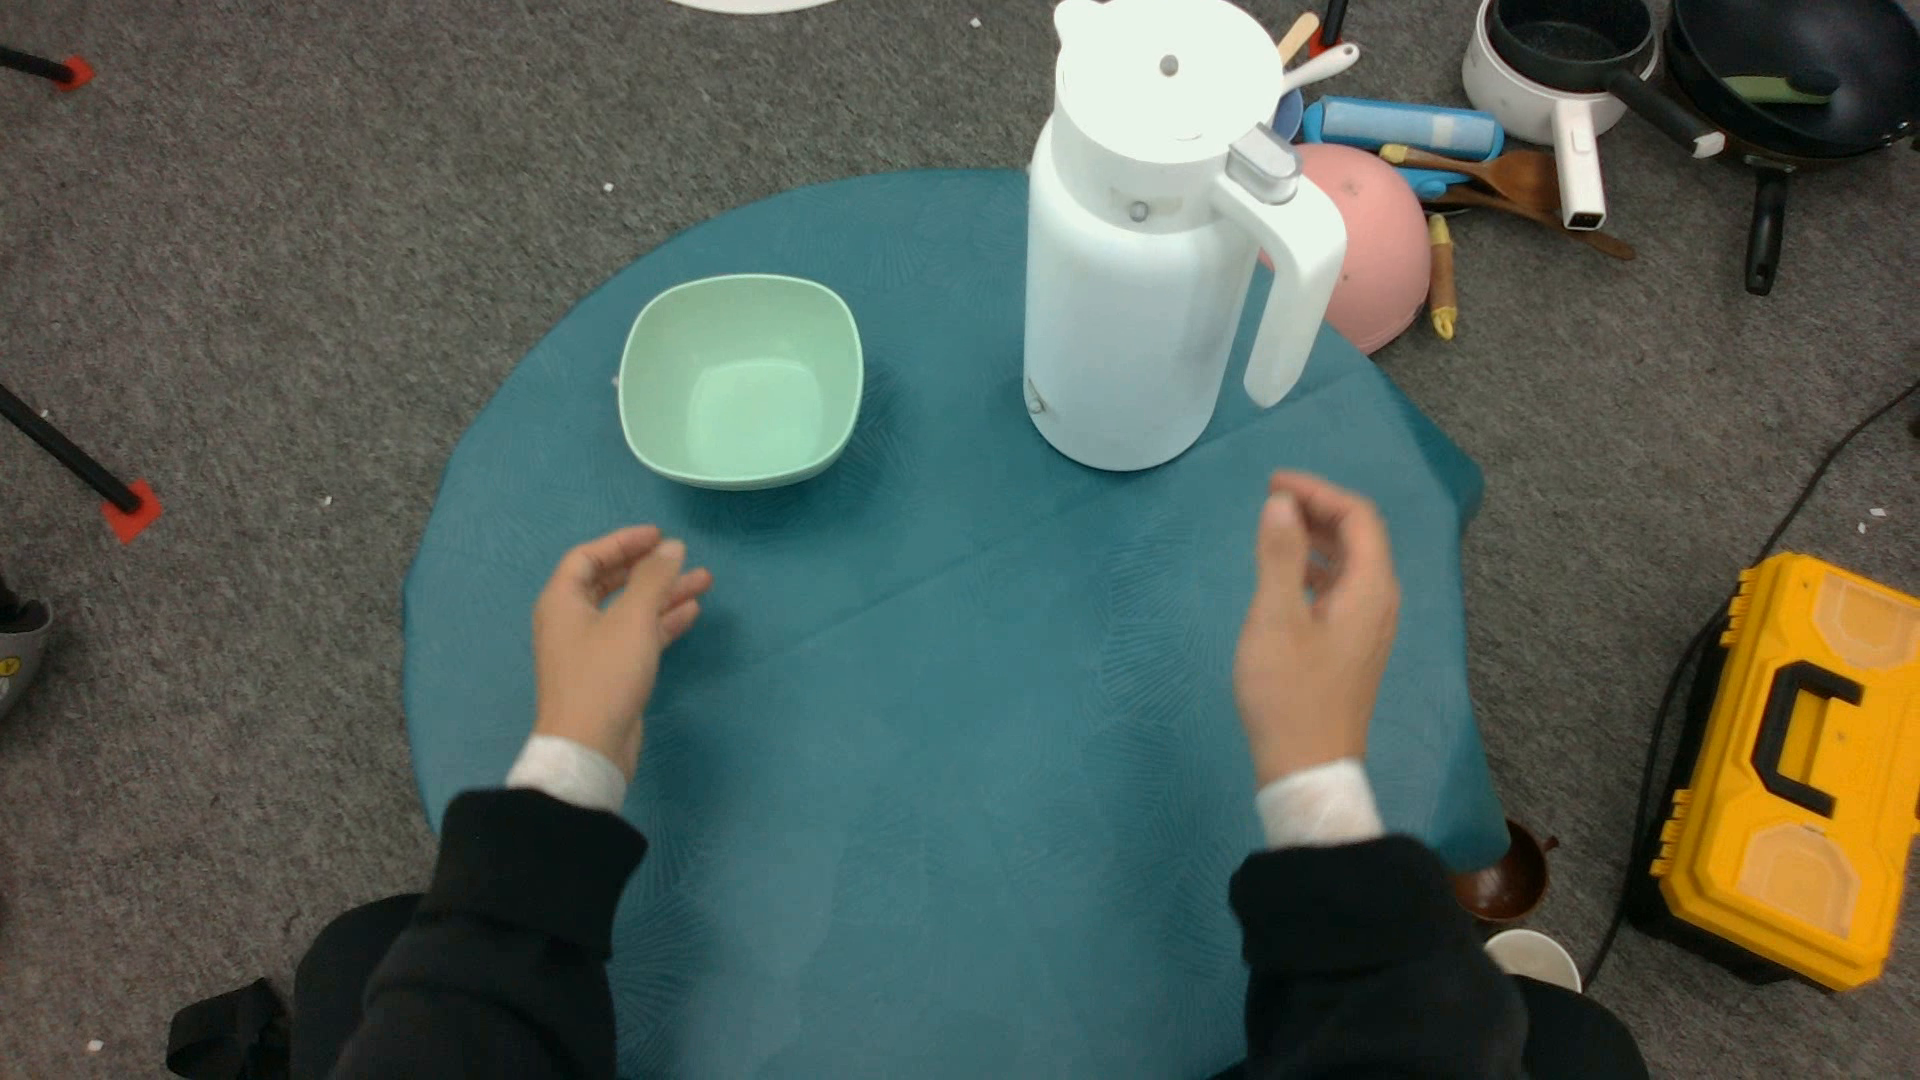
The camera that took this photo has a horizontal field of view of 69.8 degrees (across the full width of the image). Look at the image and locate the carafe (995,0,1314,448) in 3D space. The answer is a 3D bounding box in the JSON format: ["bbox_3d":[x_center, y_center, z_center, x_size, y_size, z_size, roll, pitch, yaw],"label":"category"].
[{"bbox_3d":[0.091,-0.148,0.714,0.124,0.268,0.173,-40,71,-18],"label":"carafe"}]

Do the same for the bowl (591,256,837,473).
[{"bbox_3d":[-0.139,-0.093,0.805,0.151,0.058,0.152,0,65,0],"label":"bowl"}]
